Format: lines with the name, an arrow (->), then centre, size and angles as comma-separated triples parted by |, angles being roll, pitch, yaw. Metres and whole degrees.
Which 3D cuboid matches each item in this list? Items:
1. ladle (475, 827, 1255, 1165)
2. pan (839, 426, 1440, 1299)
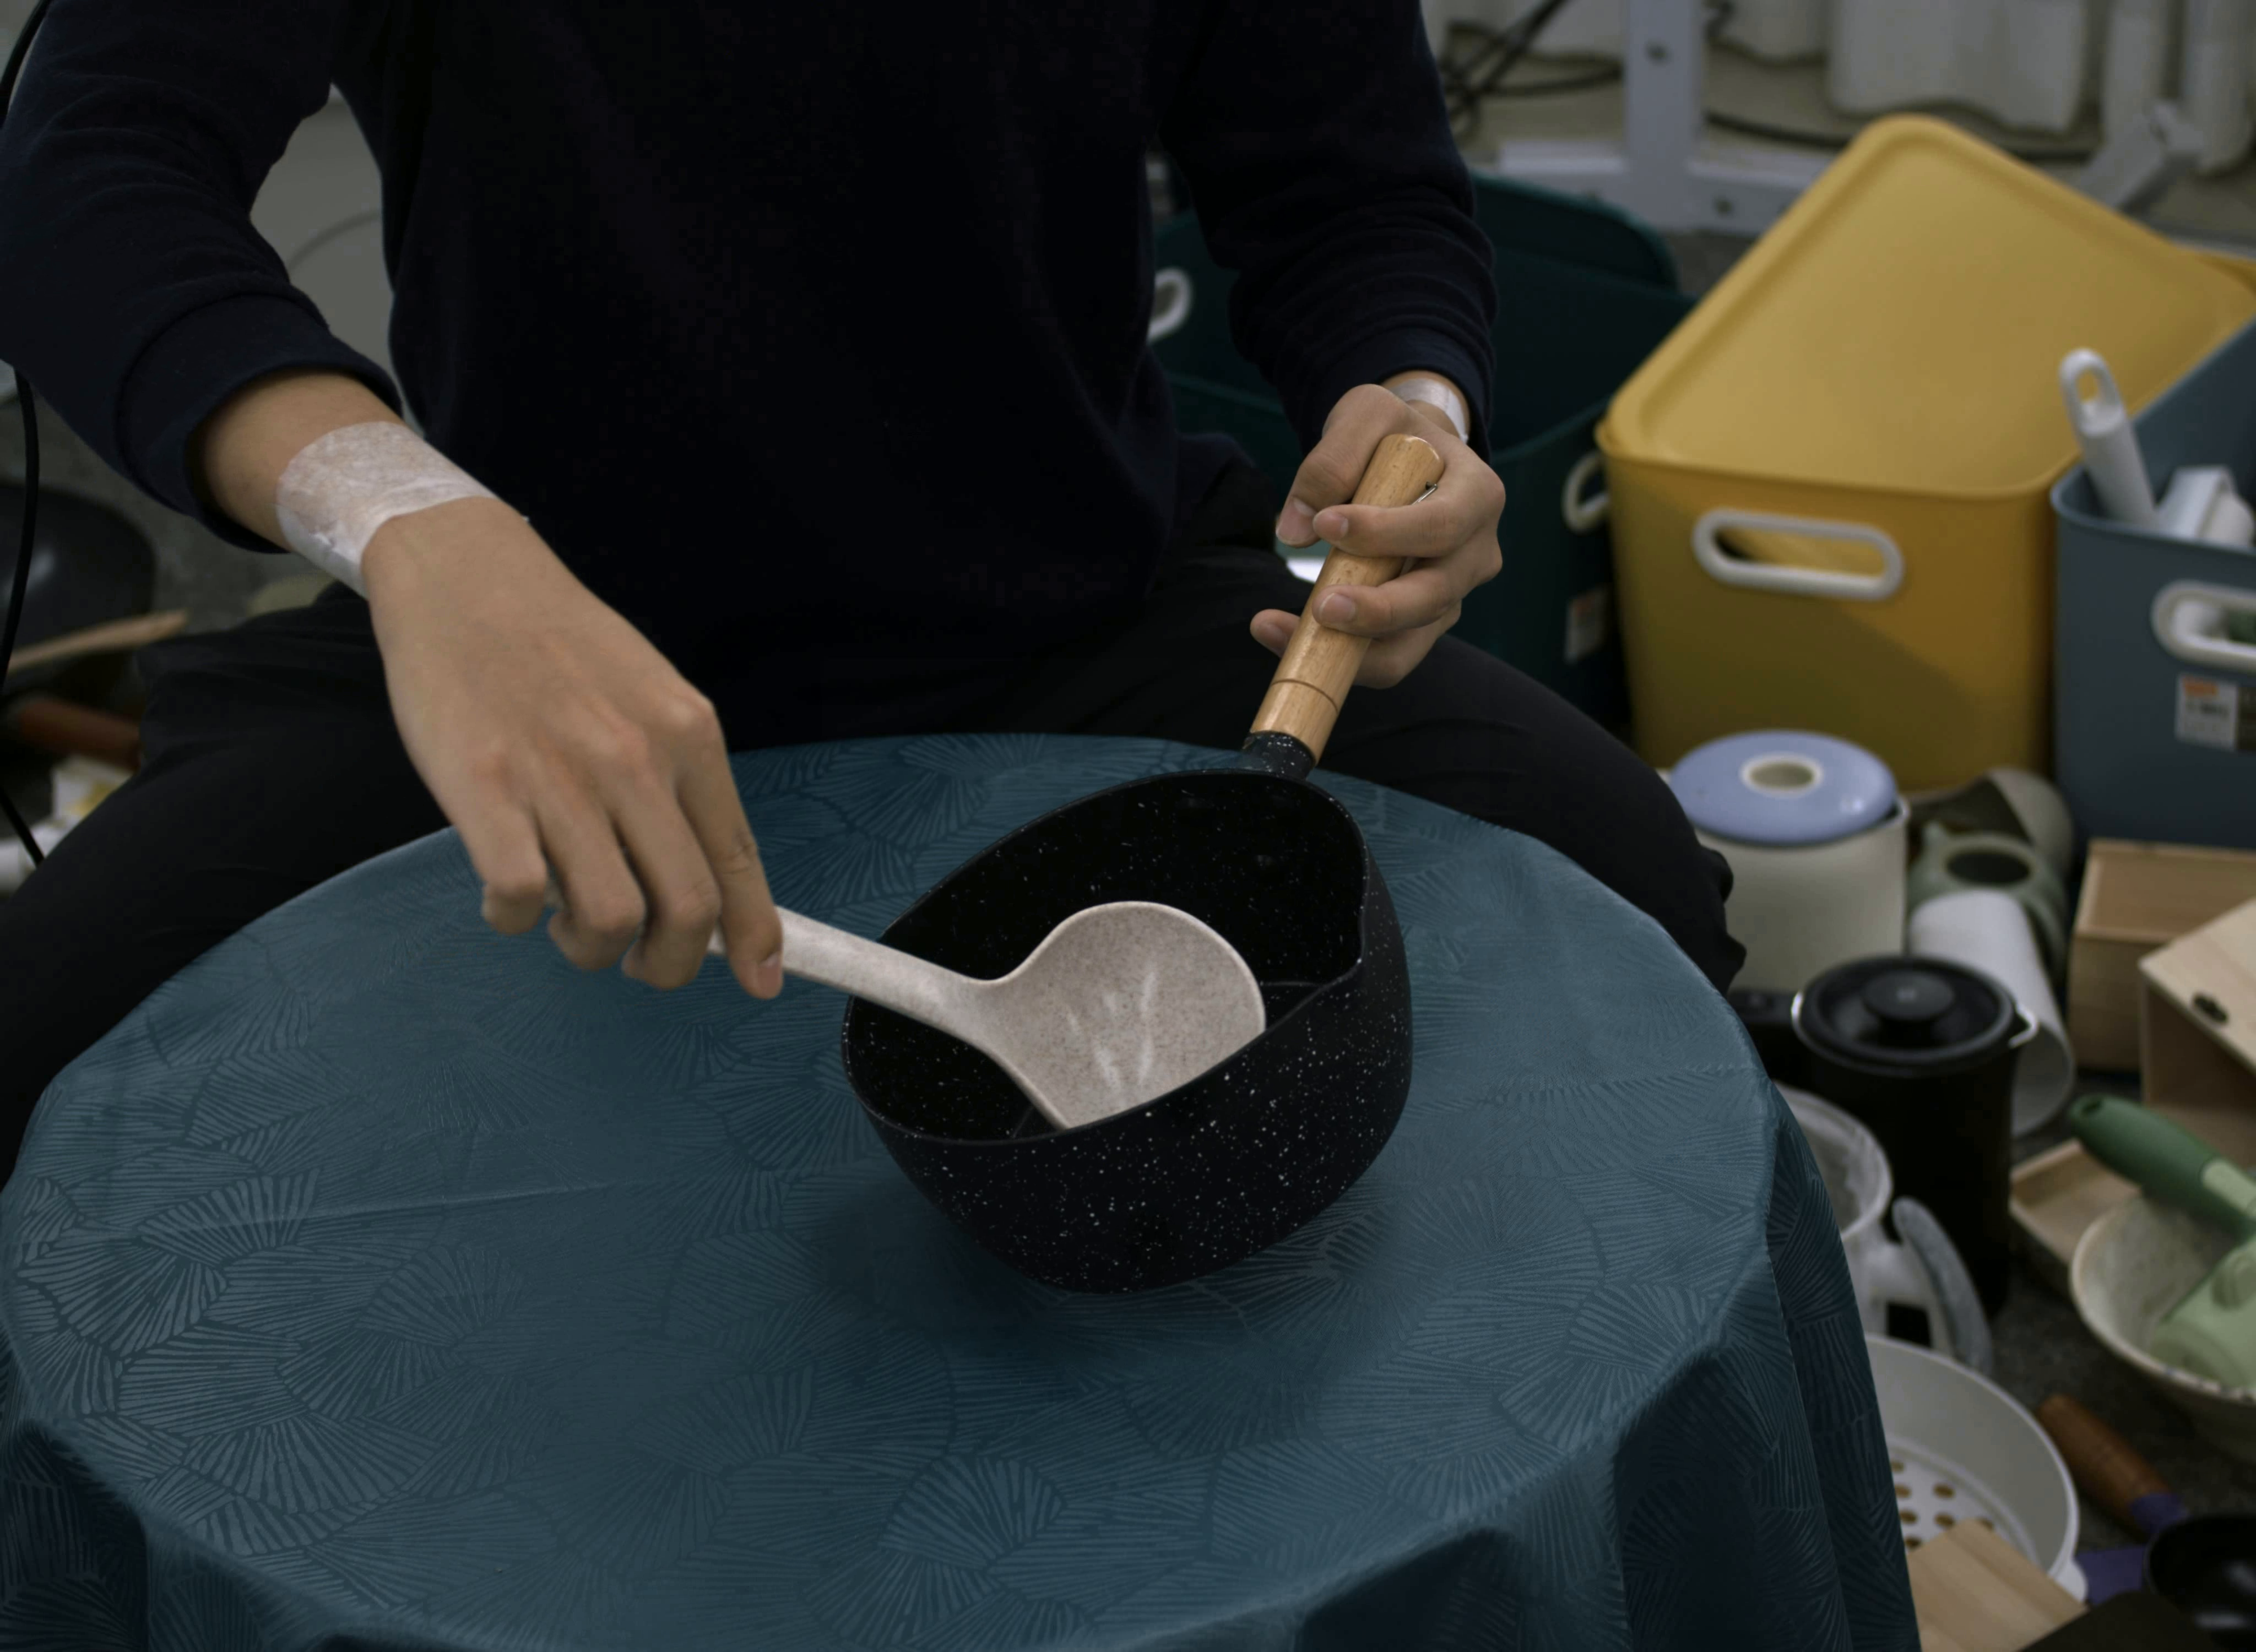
ladle -> -0.072, 0.035, 1.683 | 0.068, 0.091, 0.274 | -21, -30, 37
pan -> 0.037, 0.011, 1.869 | 0.205, 0.107, 0.349 | -2, 39, 36
